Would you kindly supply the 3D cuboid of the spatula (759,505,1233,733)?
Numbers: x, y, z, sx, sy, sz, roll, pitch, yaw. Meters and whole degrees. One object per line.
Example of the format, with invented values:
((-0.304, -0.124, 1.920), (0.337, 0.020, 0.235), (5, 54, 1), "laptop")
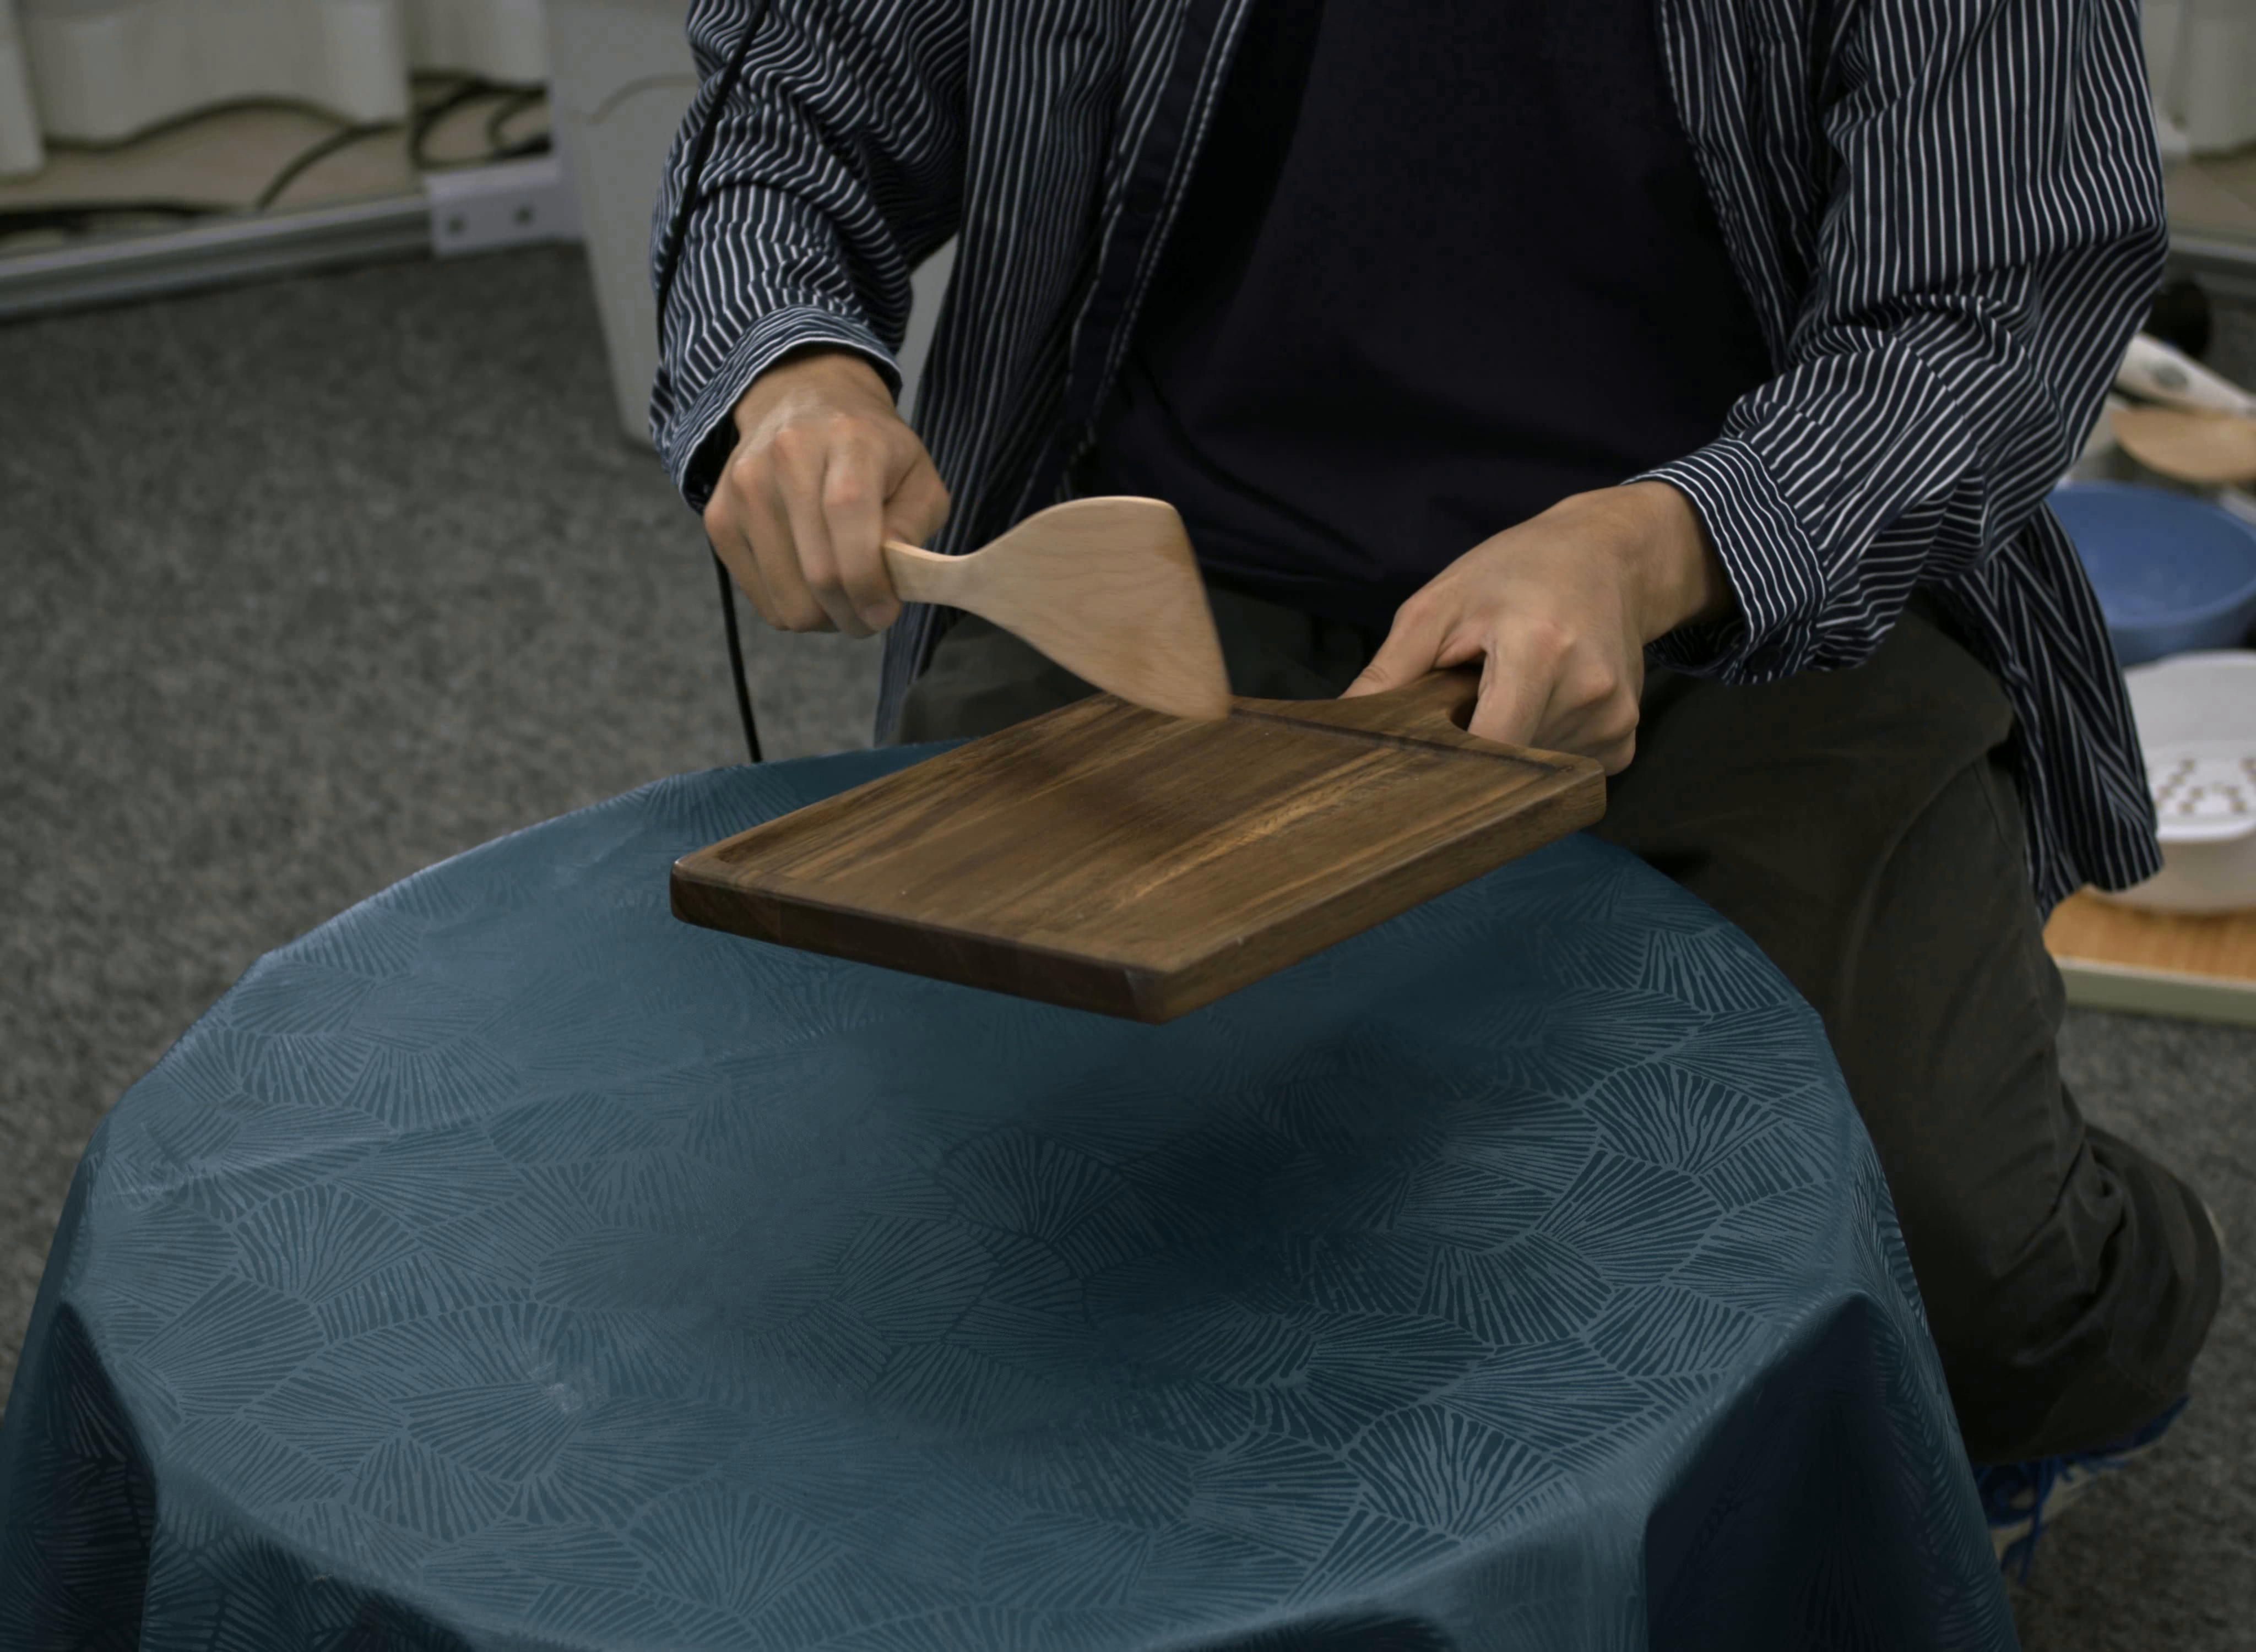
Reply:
((-0.052, -0.081, 1.907), (0.016, 0.079, 0.326), (-28, 18, -22), "spatula")

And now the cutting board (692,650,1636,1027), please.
((0.044, -0.007, 1.816), (0.200, 0.023, 0.356), (11, 21, 36), "cutting board")
